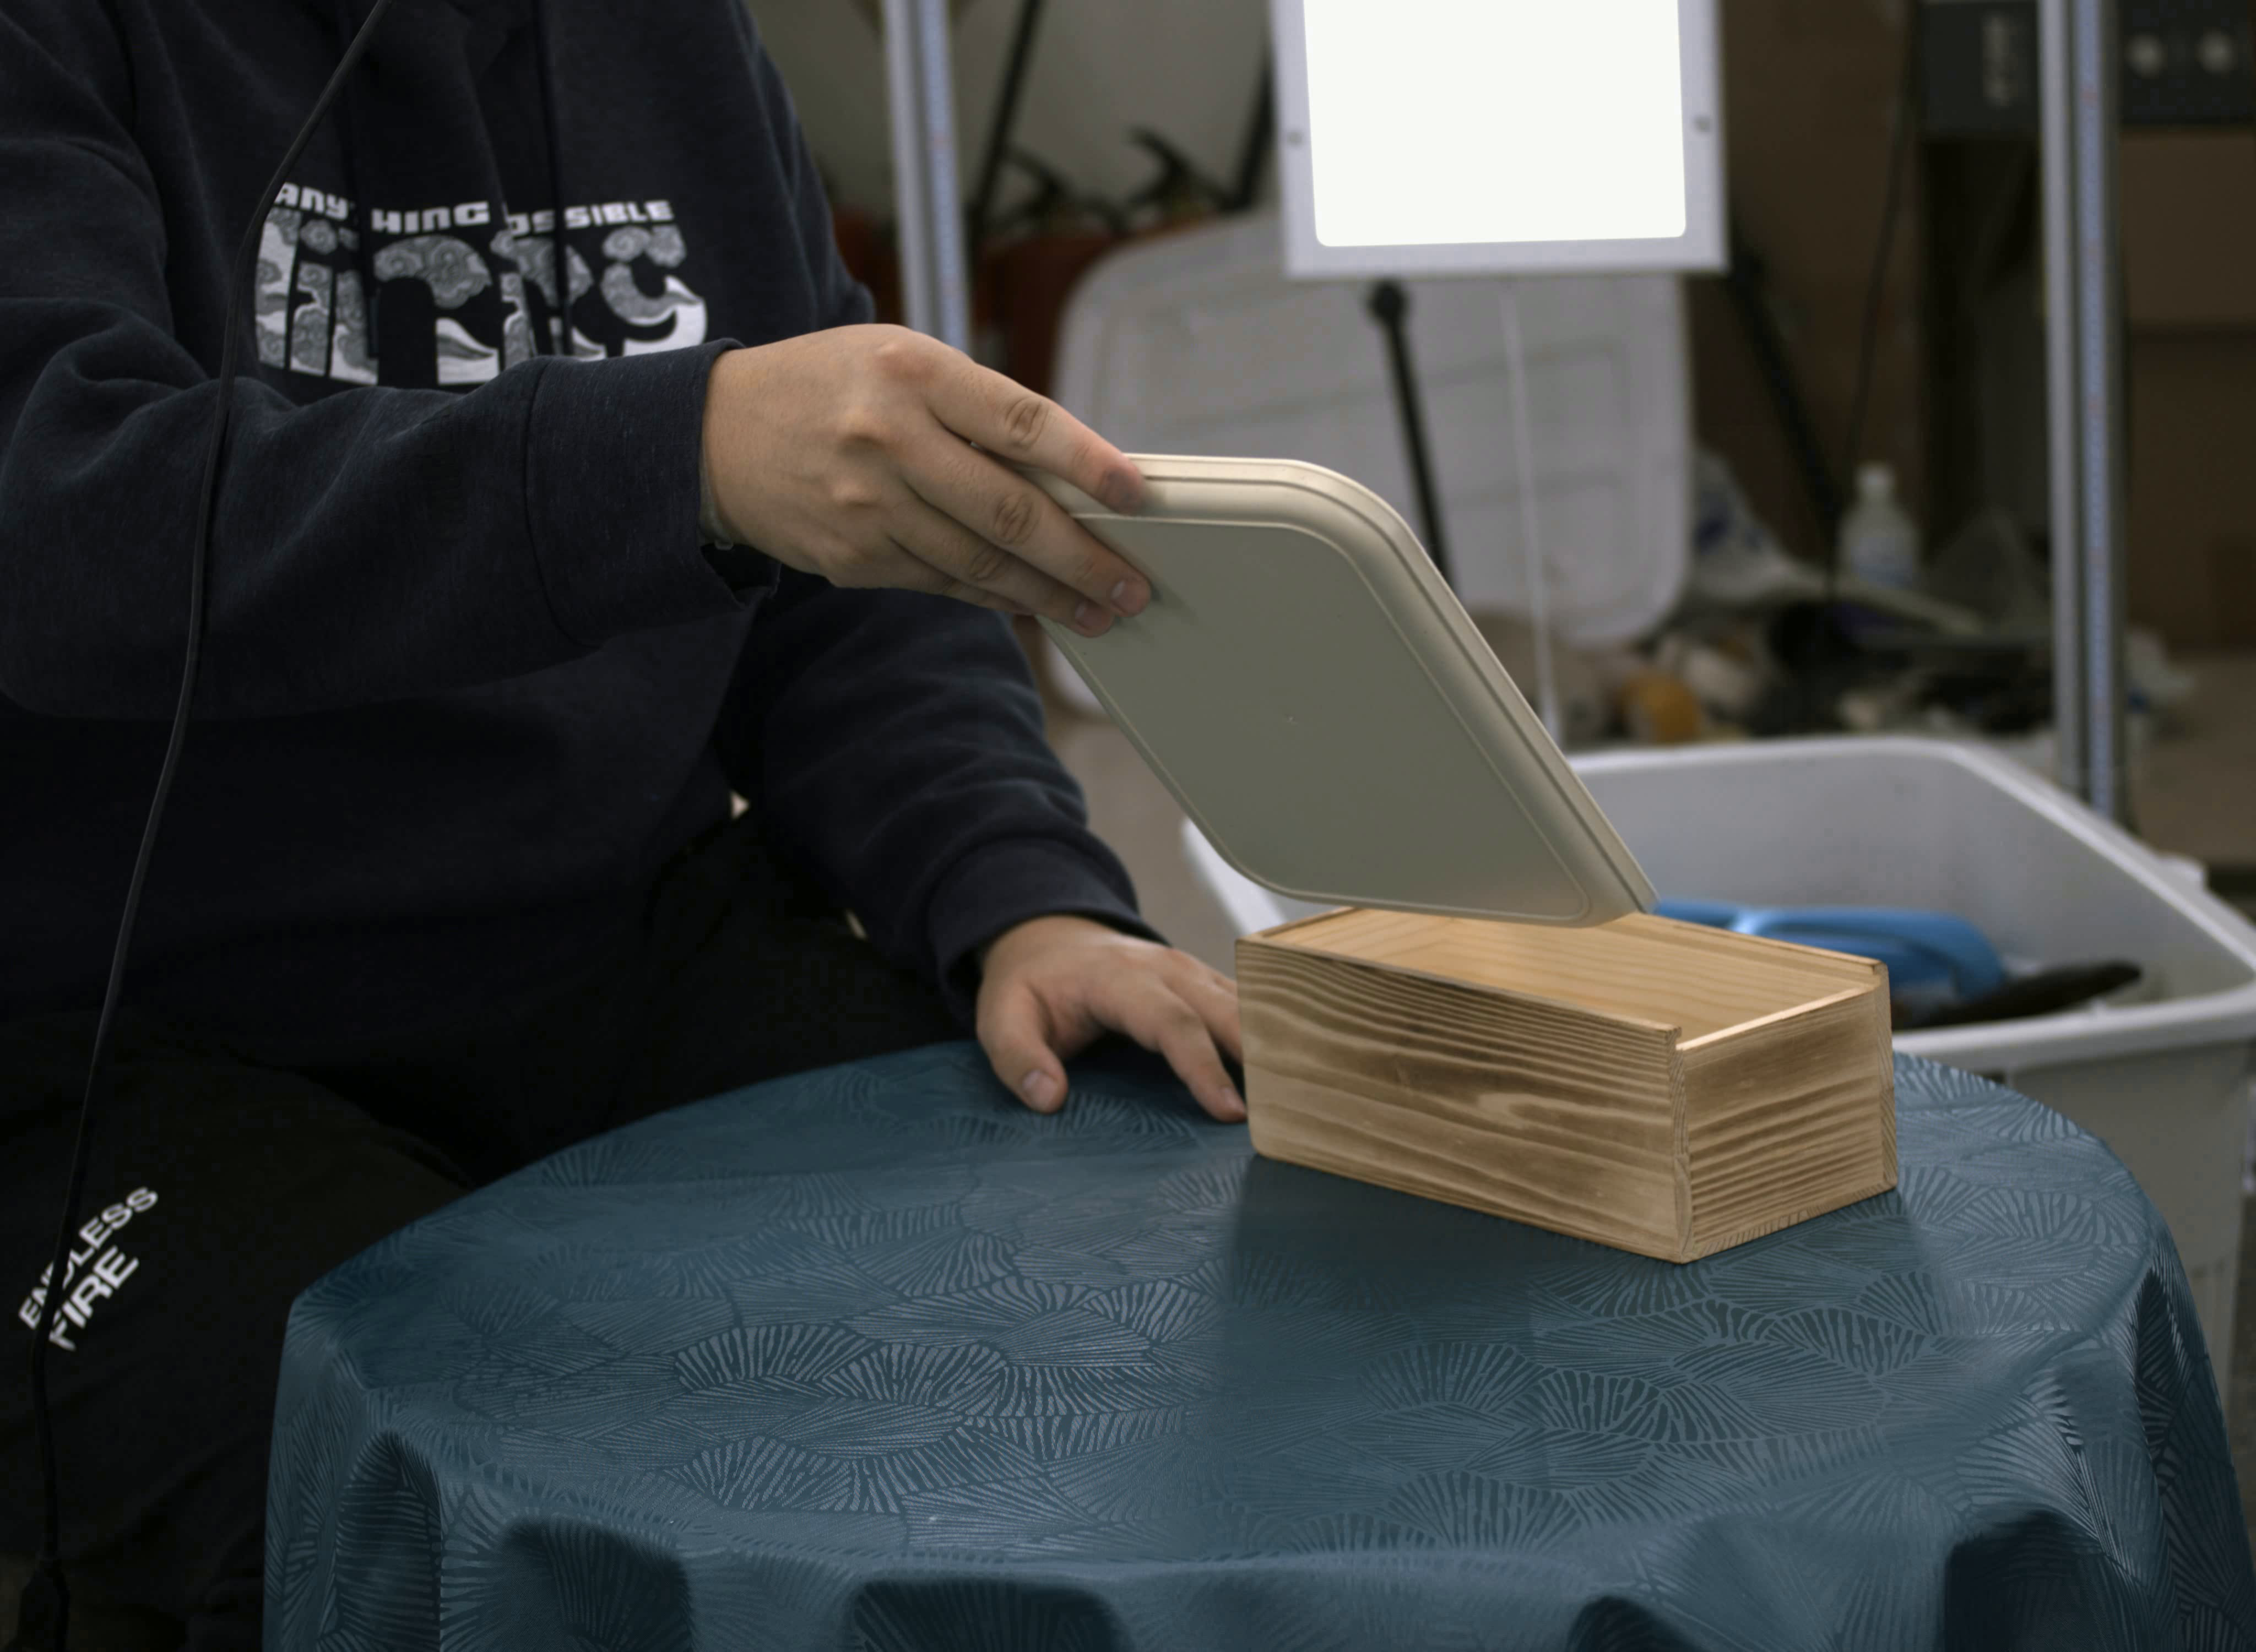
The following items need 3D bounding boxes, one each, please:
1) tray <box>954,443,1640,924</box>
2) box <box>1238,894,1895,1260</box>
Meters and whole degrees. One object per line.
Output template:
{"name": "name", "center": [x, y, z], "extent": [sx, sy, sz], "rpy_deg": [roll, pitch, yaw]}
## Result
{"name": "tray", "center": [0.054, -0.041, 1.772], "extent": [0.175, 0.237, 0.017], "rpy_deg": [5, 57, 38]}
{"name": "box", "center": [0.148, 0.079, 1.873], "extent": [0.105, 0.080, 0.216], "rpy_deg": [-15, 16, -37]}
